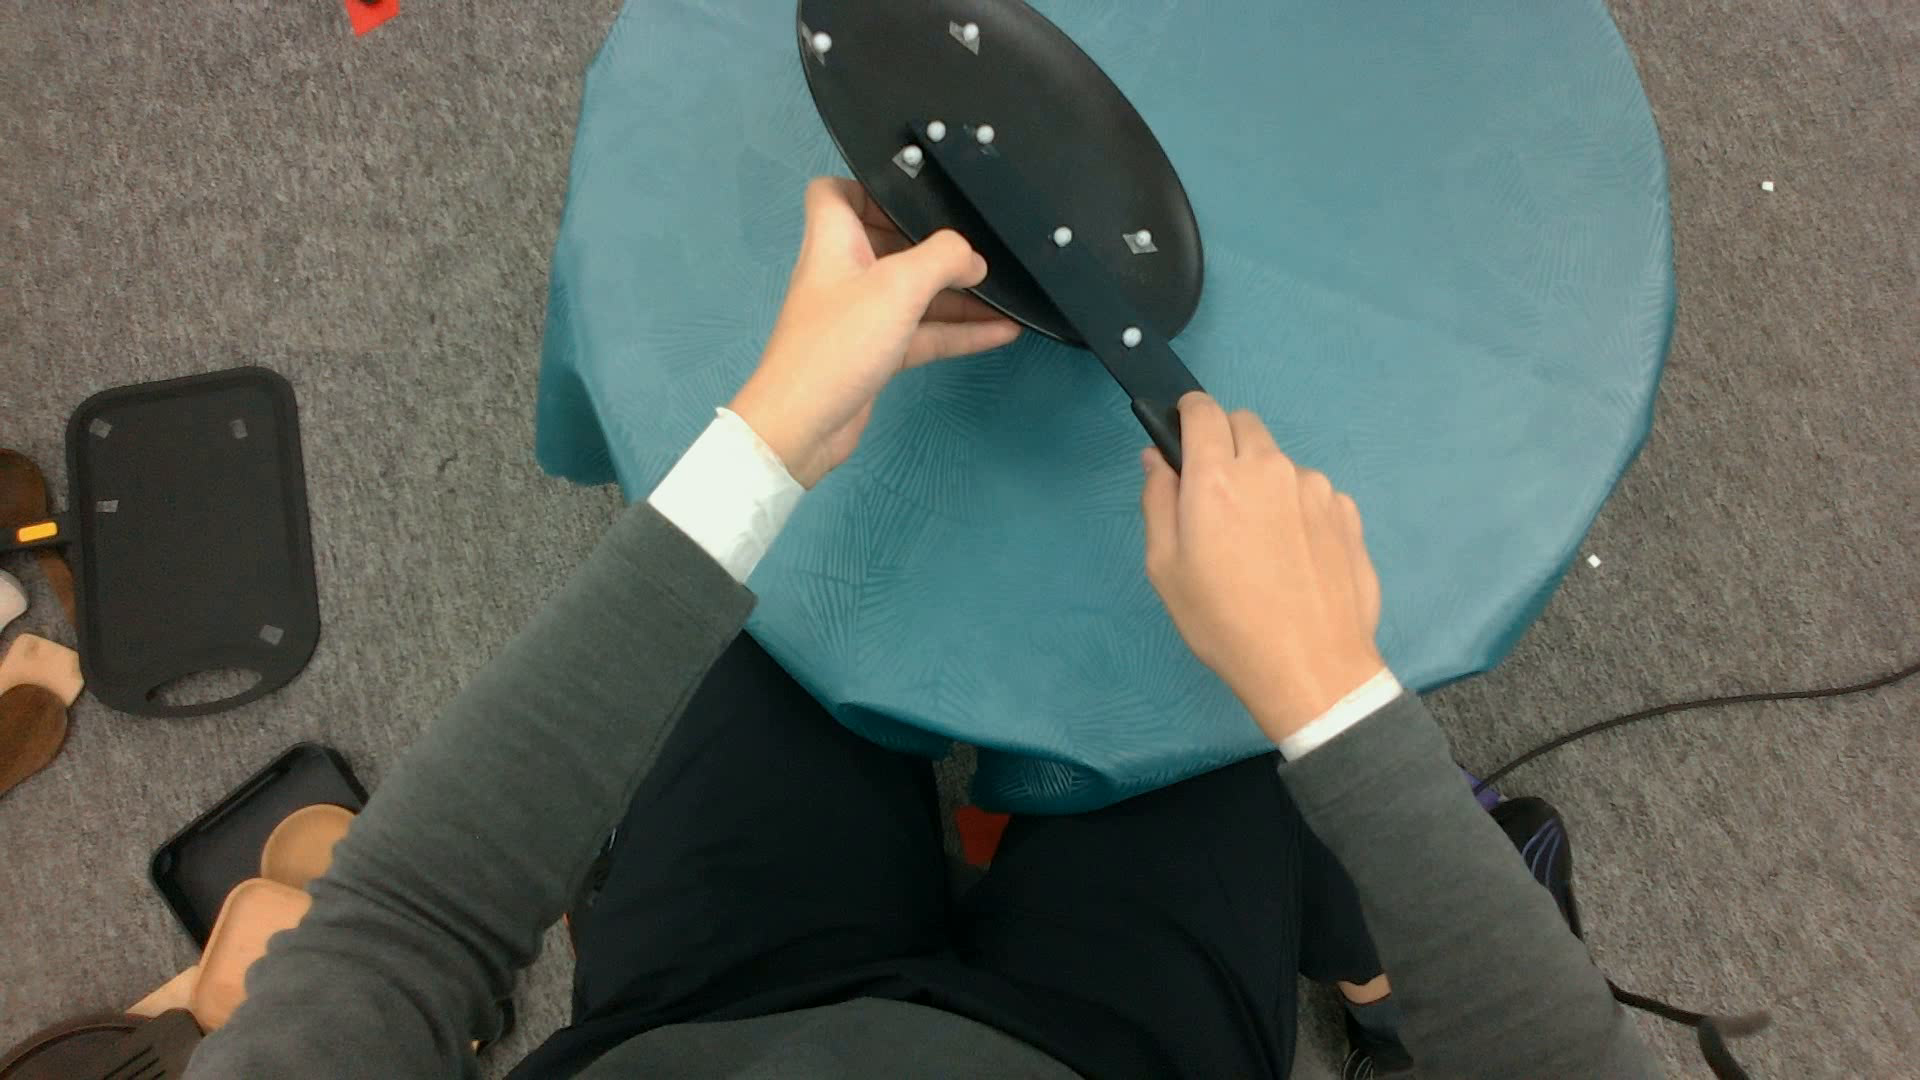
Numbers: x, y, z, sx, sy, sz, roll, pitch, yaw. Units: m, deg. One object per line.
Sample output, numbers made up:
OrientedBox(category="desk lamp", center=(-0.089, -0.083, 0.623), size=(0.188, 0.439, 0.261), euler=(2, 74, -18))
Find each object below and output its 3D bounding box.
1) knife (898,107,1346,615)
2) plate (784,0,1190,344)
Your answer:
OrientedBox(category="knife", center=(0.075, -0.090, 0.630), size=(0.021, 0.081, 0.302), euler=(-45, 73, 37))
OrientedBox(category="plate", center=(0.016, -0.192, 0.674), size=(0.244, 0.023, 0.245), euler=(23, 47, -28))
